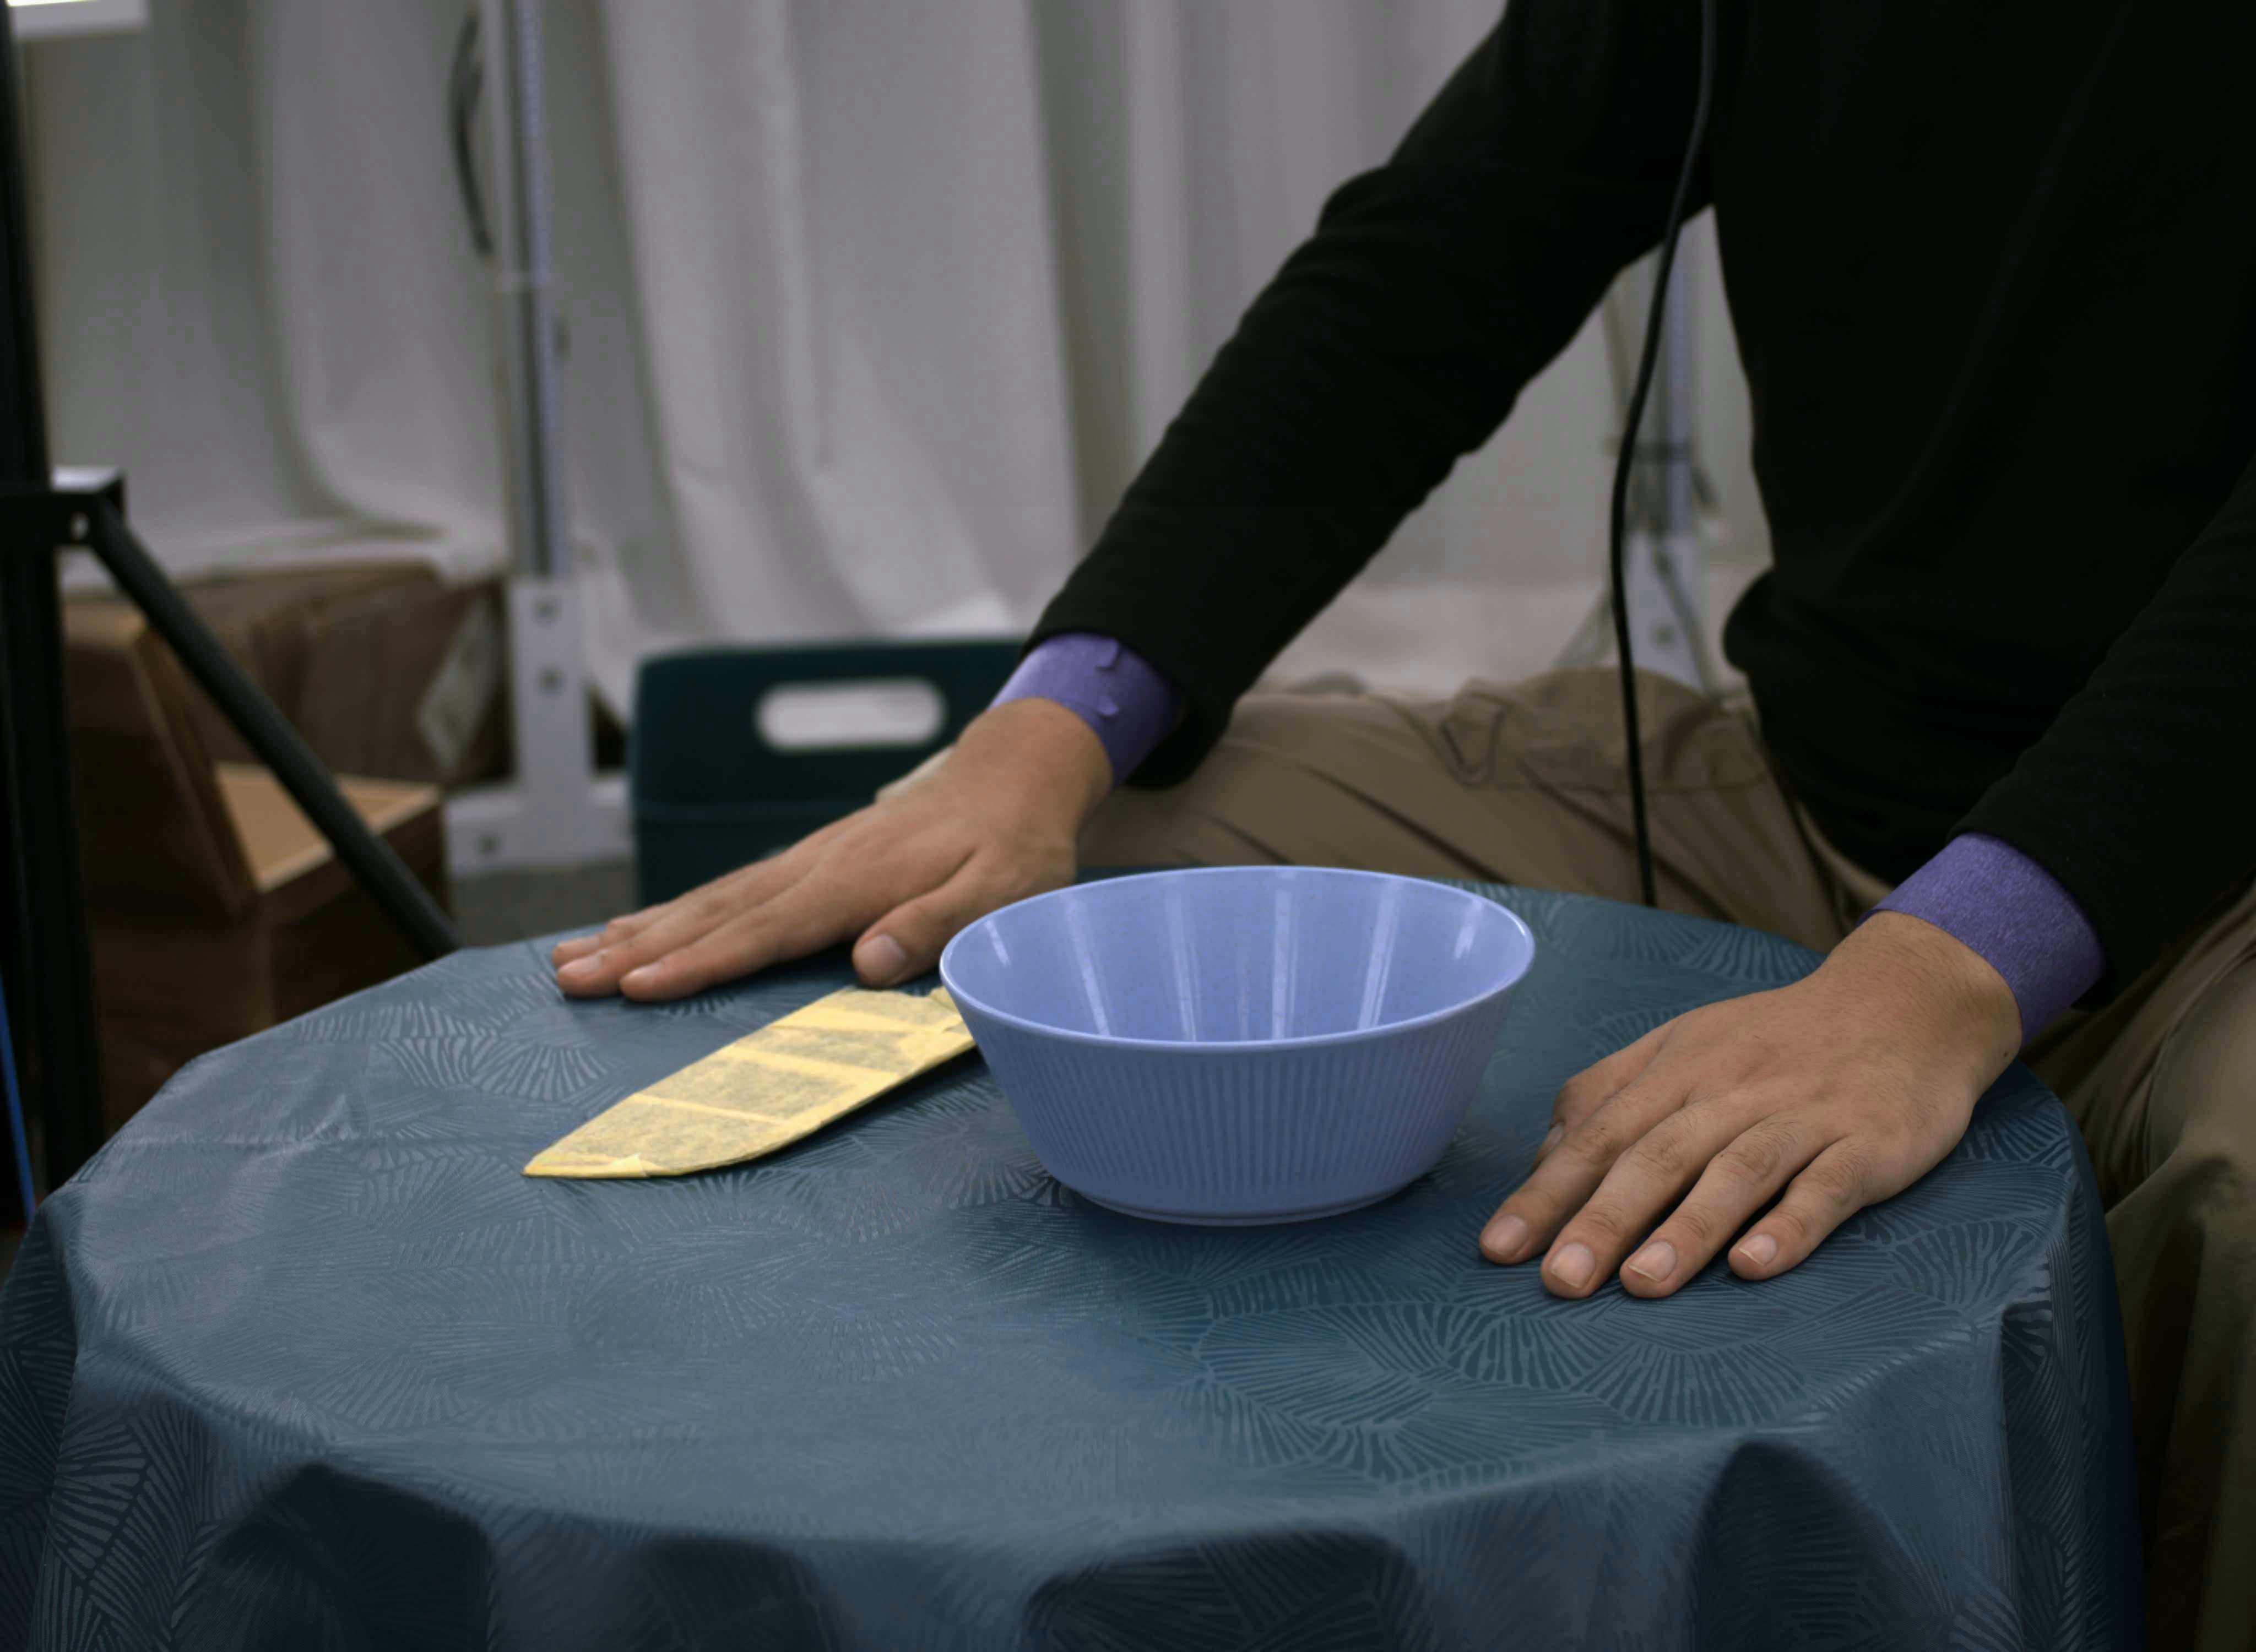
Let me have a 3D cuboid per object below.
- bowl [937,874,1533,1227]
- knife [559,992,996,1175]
[{"bbox_3d":[0.033,0.068,1.565,0.175,0.070,0.177,-3,15,0],"label":"bowl"},{"bbox_3d":[-0.075,0.066,1.690,0.083,0.027,0.283,12,22,38],"label":"knife"}]
